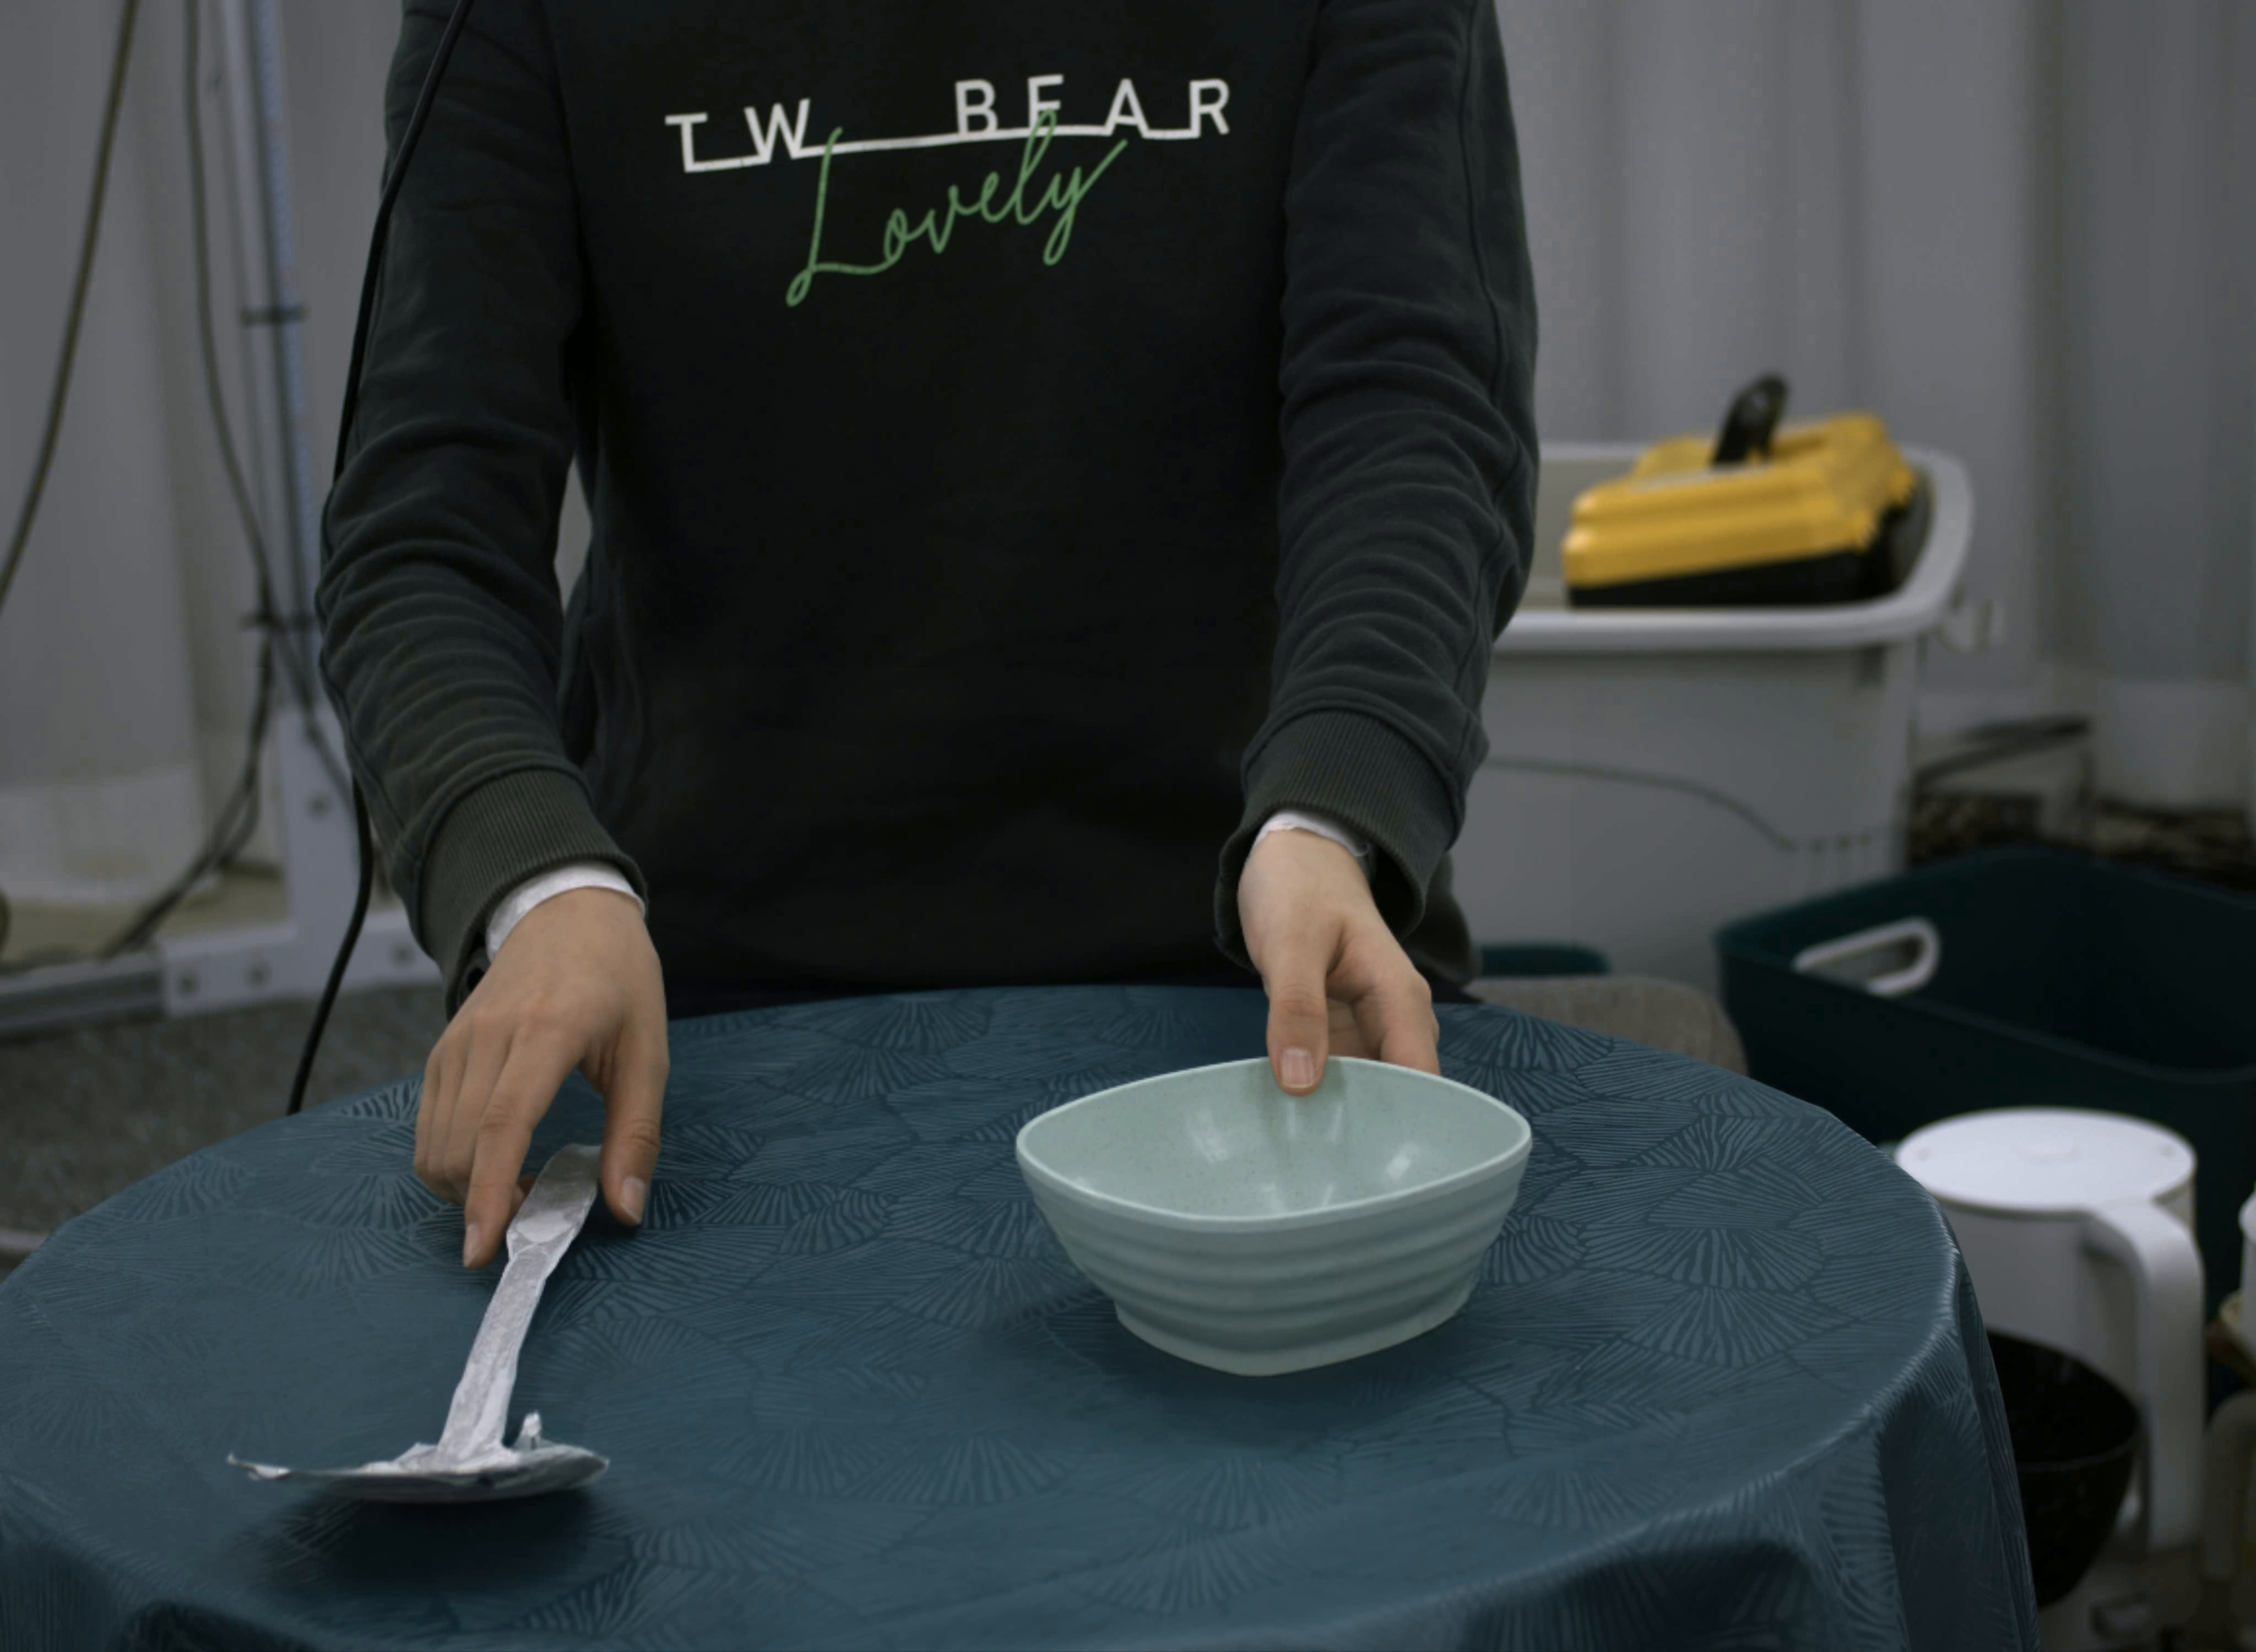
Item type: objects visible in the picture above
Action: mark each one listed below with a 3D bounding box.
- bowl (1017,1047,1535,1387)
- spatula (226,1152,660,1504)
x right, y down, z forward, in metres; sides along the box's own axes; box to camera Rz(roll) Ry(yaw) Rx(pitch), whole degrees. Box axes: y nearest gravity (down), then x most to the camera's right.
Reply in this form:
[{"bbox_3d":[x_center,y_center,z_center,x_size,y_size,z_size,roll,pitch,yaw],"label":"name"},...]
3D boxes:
[{"bbox_3d":[0.044,0.117,1.591,0.151,0.058,0.152,-2,17,0],"label":"bowl"},{"bbox_3d":[-0.176,0.137,1.589,0.098,0.044,0.367,-3,15,5],"label":"spatula"}]
